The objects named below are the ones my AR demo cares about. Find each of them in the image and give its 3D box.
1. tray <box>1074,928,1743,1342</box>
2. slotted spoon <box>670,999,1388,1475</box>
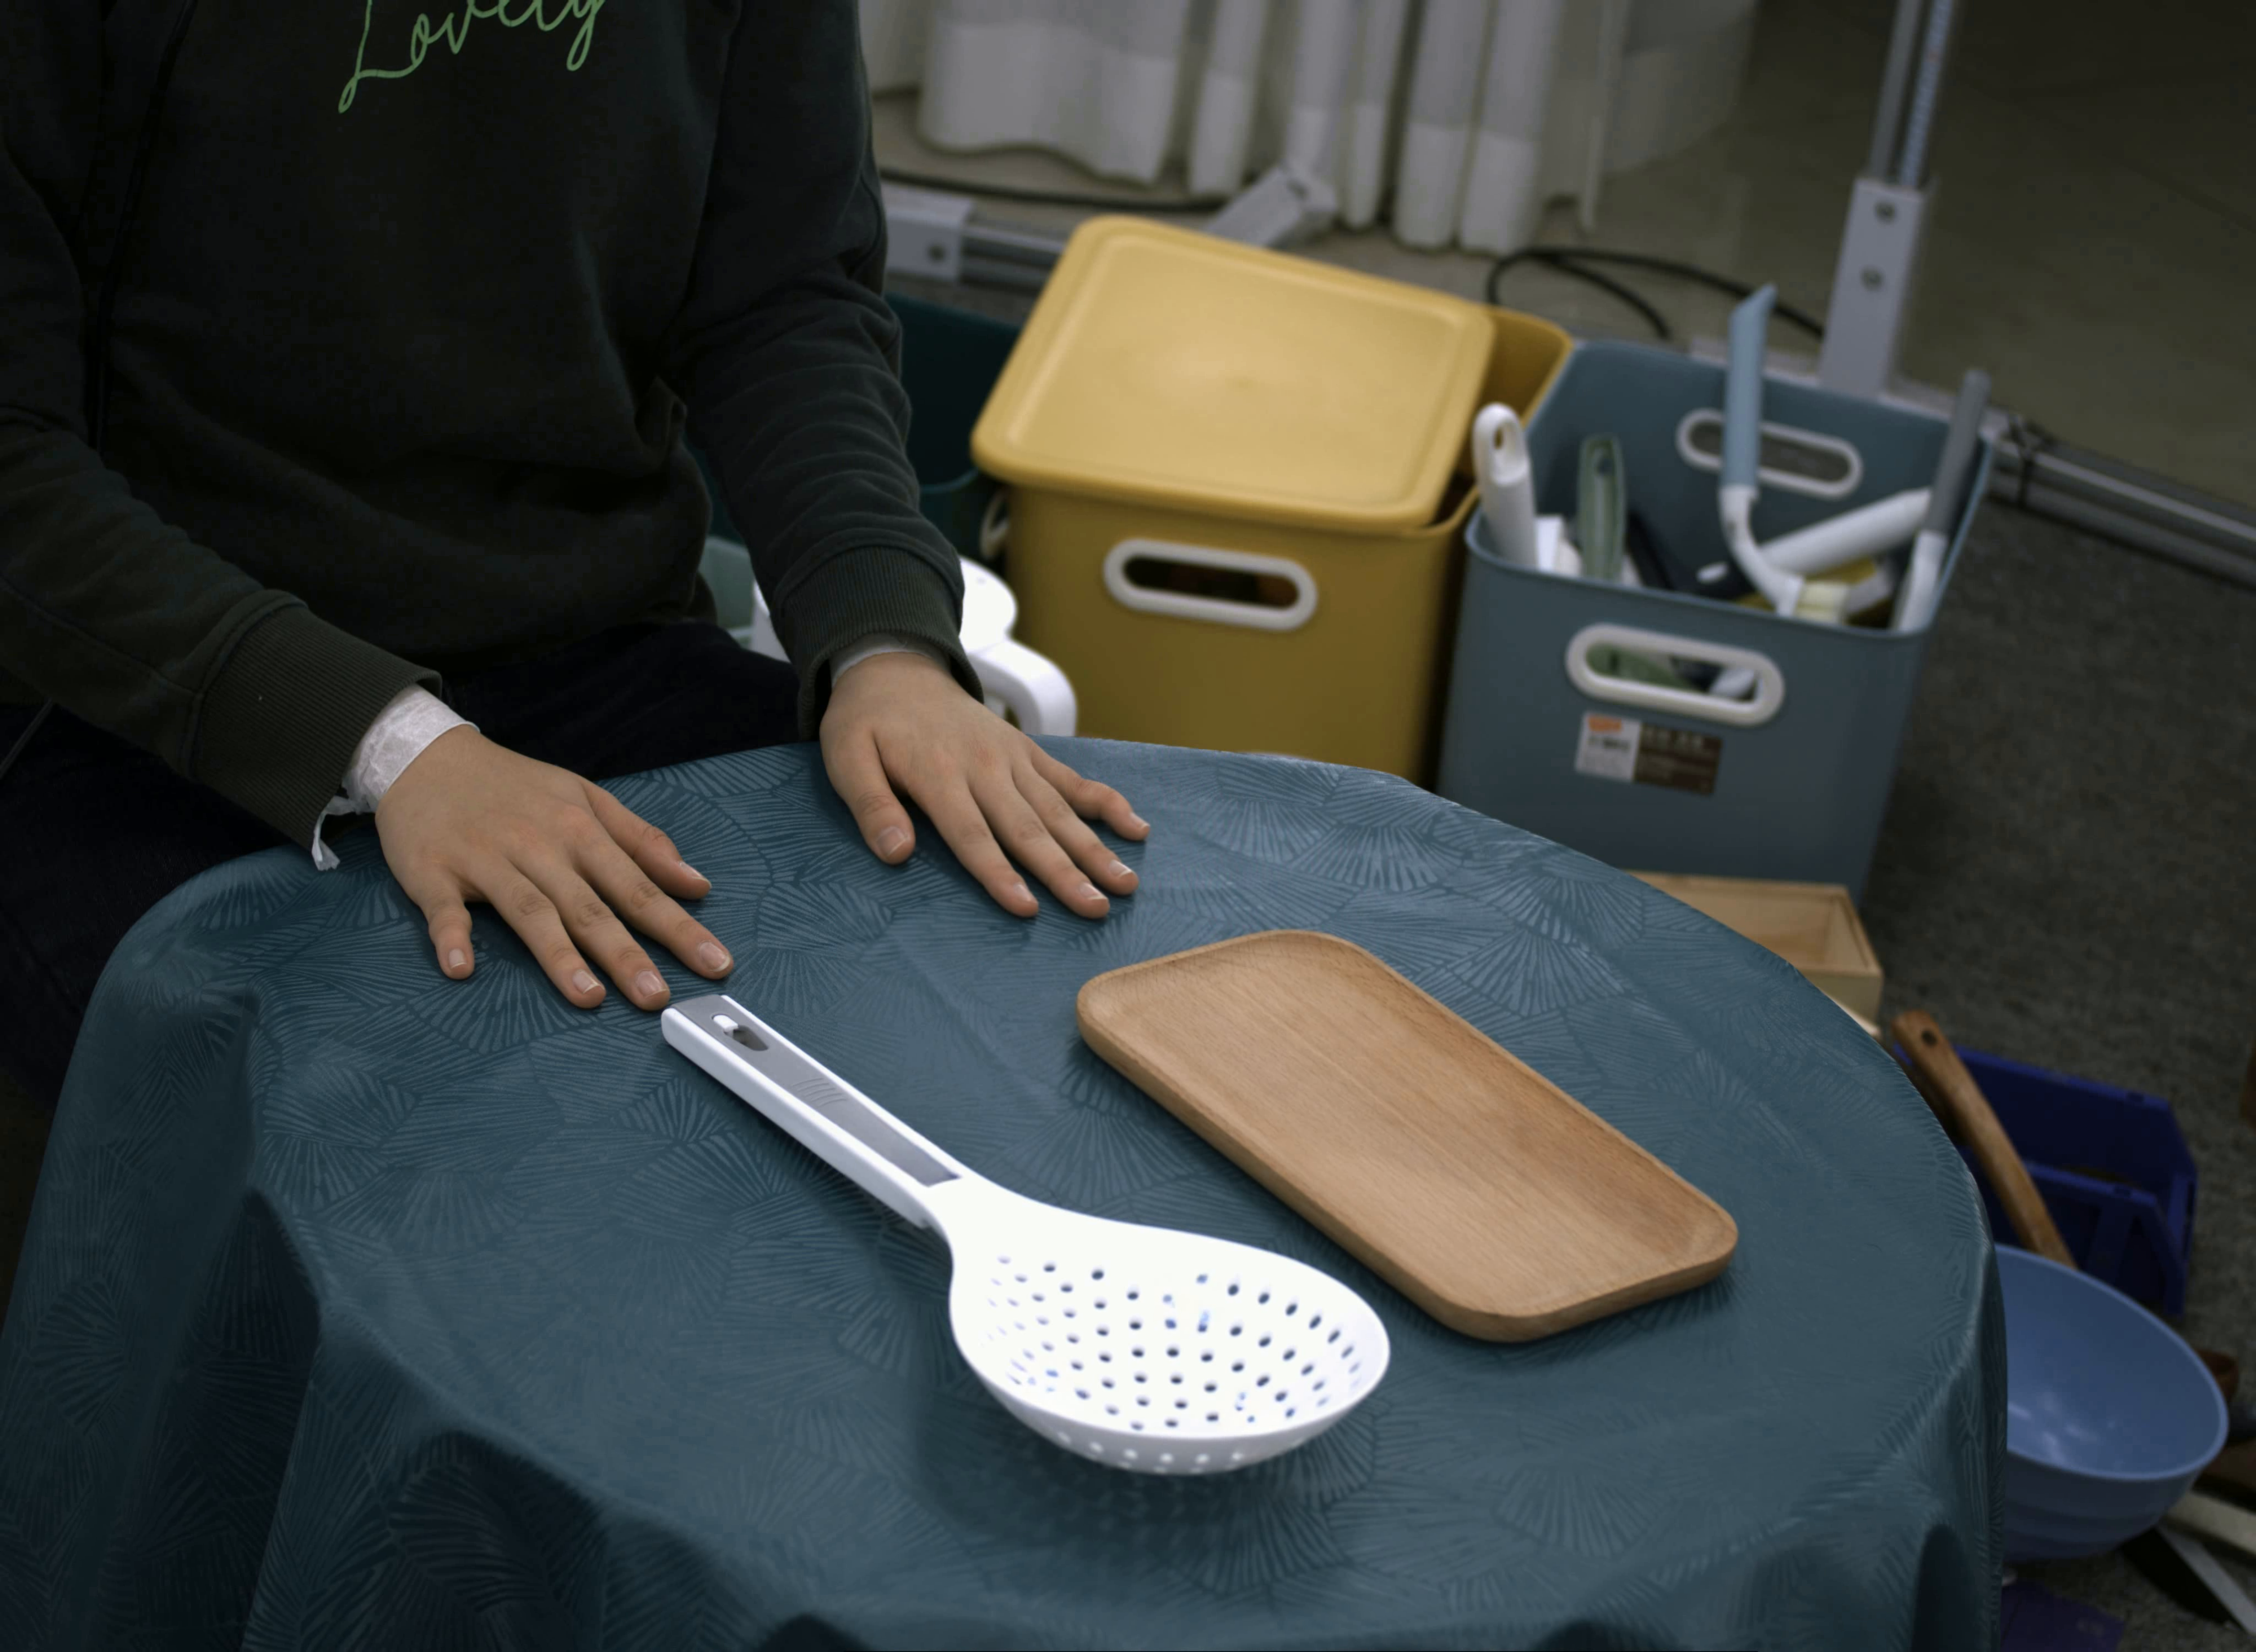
[{"bbox_3d":[0.093,0.104,1.841,0.130,0.023,0.253,-11,31,-34],"label":"tray"},{"bbox_3d":[-0.050,0.127,1.731,0.135,0.045,0.353,-10,30,-34],"label":"slotted spoon"}]
